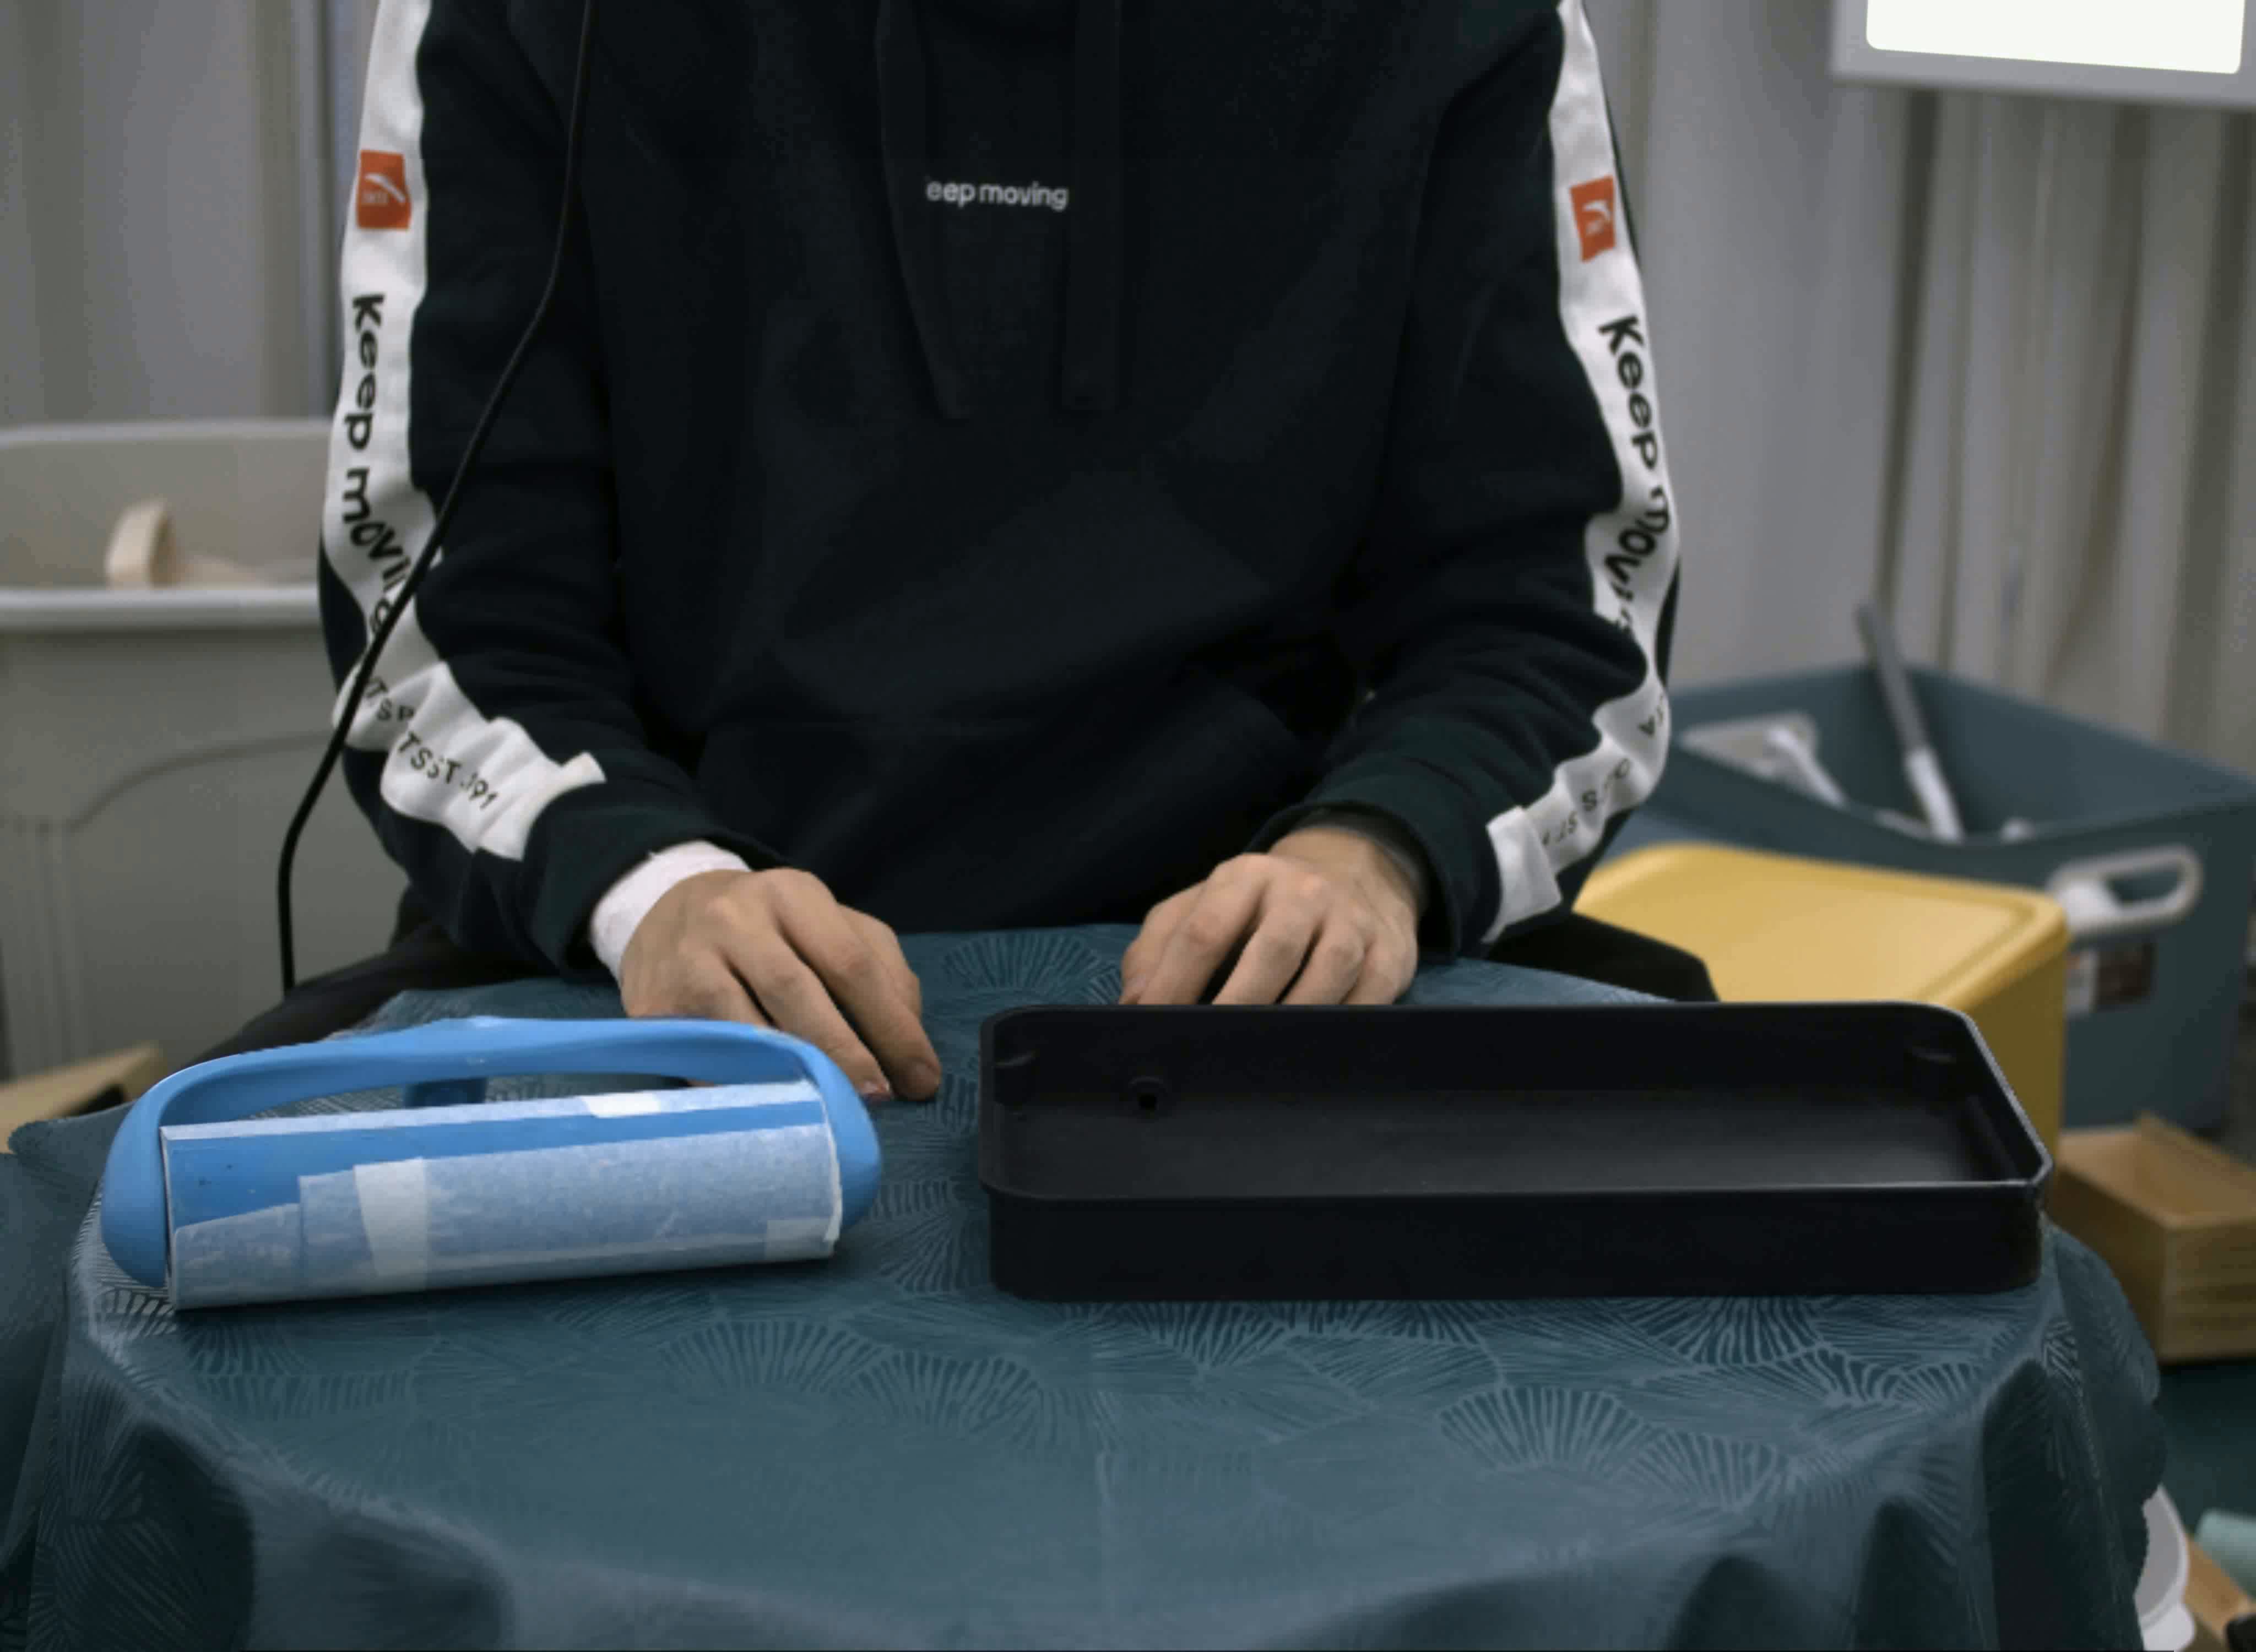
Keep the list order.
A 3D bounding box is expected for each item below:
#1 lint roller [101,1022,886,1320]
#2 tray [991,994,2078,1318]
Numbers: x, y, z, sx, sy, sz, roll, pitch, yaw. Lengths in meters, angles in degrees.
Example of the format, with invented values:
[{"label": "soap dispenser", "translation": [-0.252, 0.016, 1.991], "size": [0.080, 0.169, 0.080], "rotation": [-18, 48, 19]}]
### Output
[{"label": "lint roller", "translation": [-0.200, 0.090, 1.586], "size": [0.229, 0.068, 0.178], "rotation": [-6, 18, -16]}, {"label": "tray", "translation": [0.118, 0.098, 1.611], "size": [0.317, 0.037, 0.183], "rotation": [-2, 15, -3]}]
